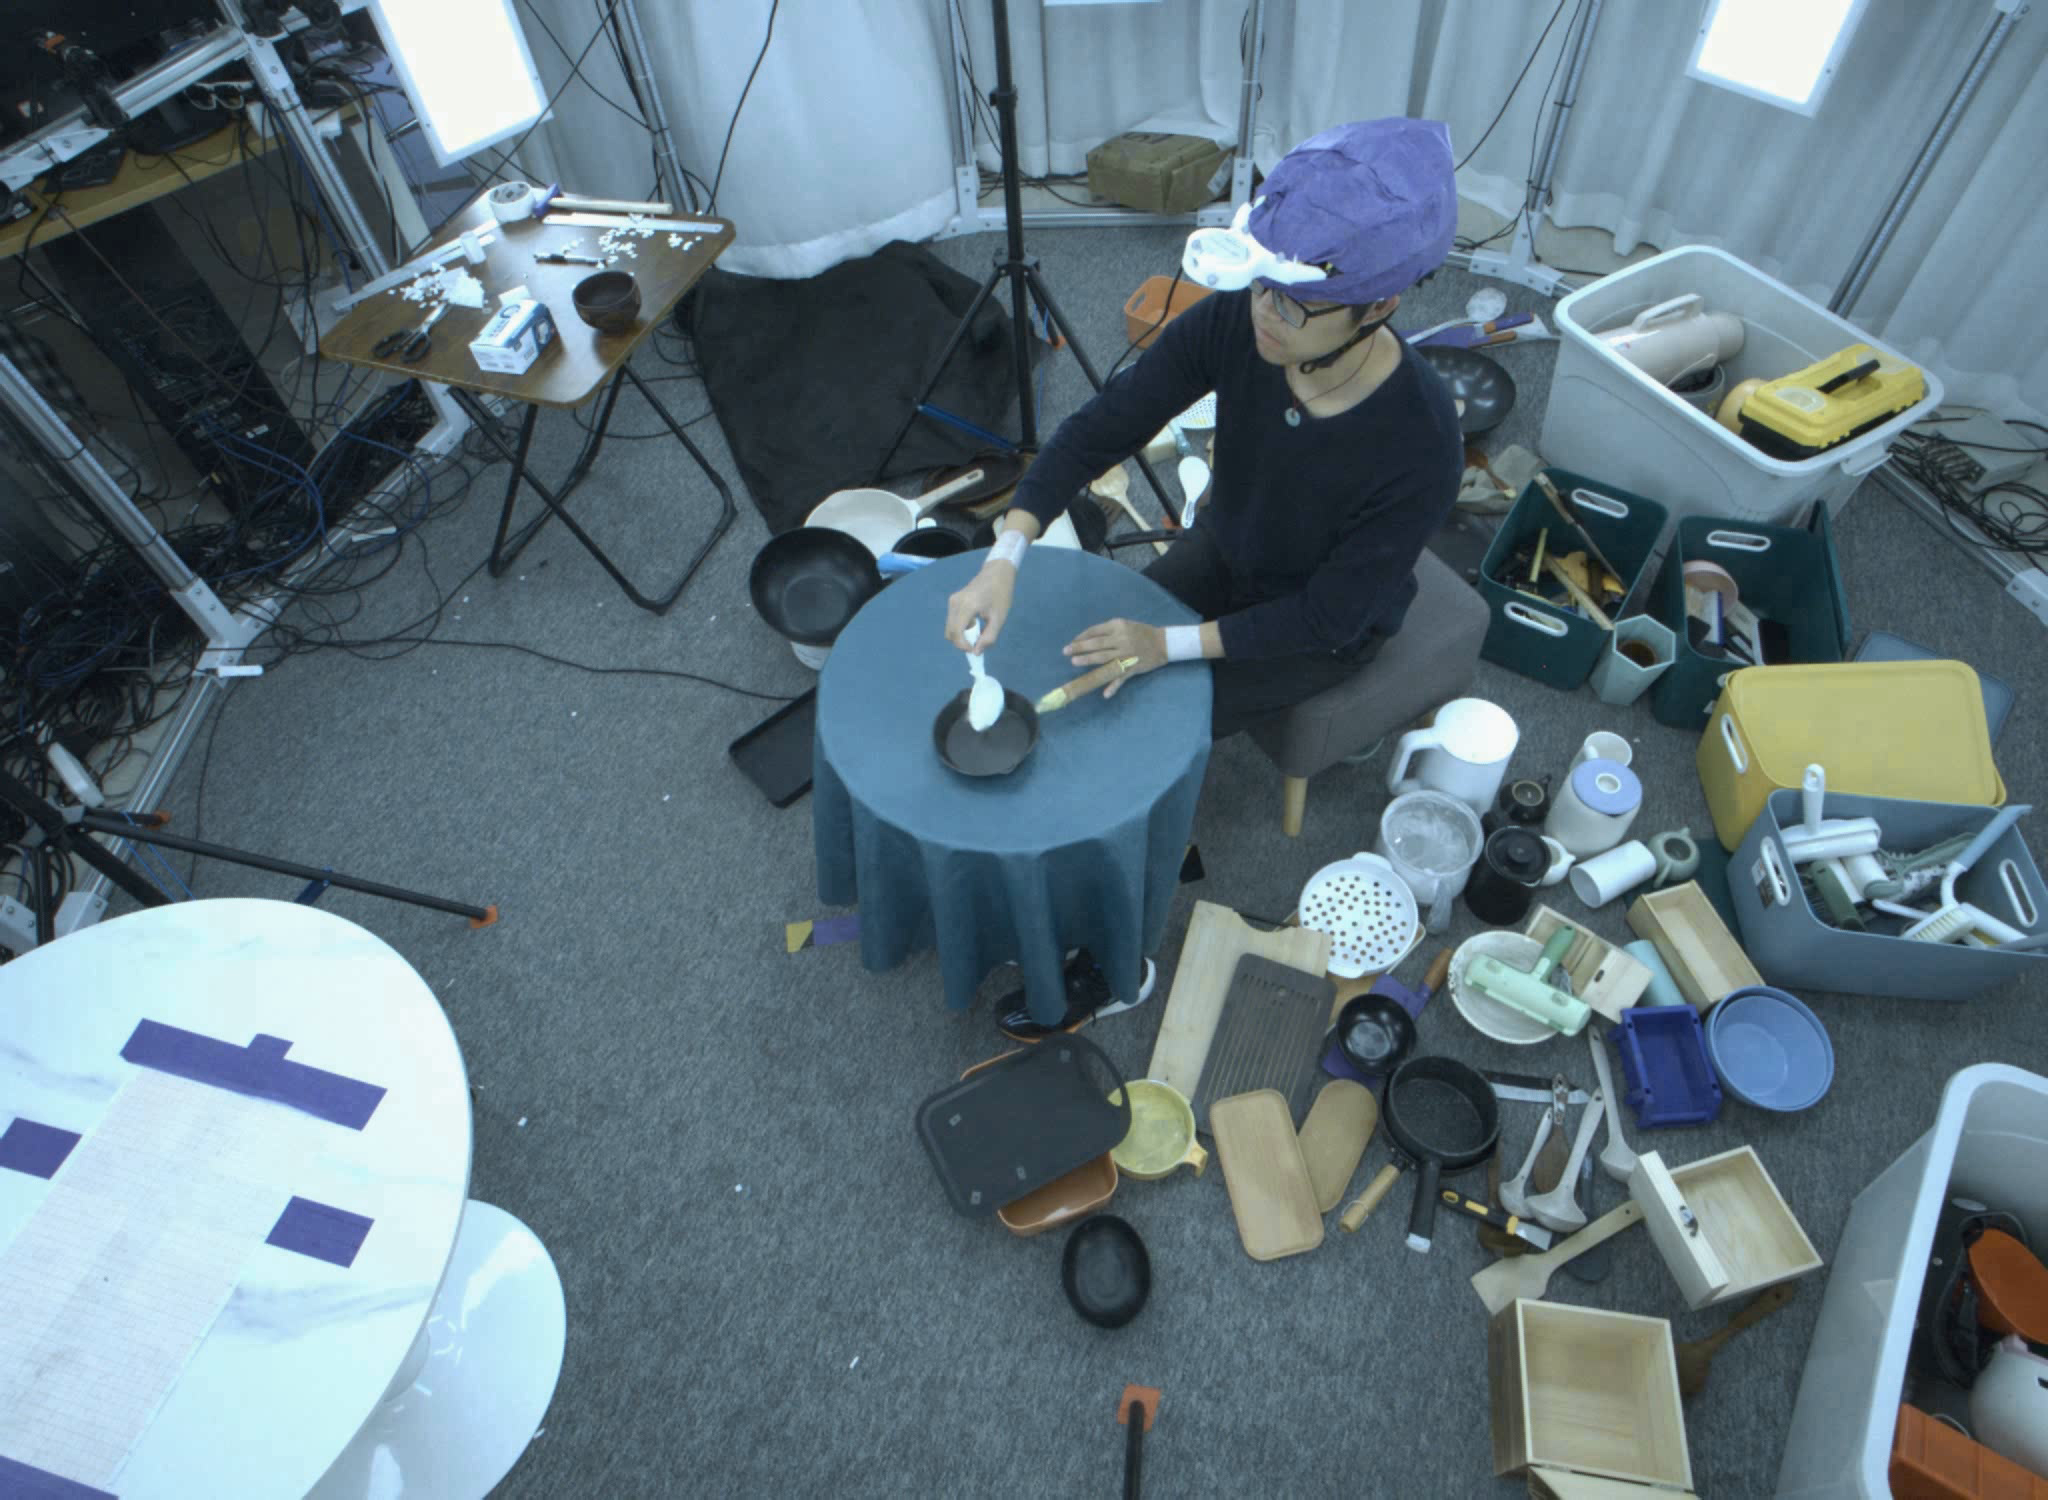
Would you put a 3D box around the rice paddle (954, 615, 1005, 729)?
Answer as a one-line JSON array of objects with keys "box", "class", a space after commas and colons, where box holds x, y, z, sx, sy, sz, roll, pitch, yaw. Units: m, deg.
[{"box": [-0.062, -0.104, 1.727, 0.029, 0.208, 0.069, 32, 61, 33], "class": "rice paddle"}]

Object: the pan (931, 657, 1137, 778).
[{"box": [0.021, -0.059, 1.787, 0.326, 0.050, 0.166, -24, 57, -8], "class": "pan"}]
